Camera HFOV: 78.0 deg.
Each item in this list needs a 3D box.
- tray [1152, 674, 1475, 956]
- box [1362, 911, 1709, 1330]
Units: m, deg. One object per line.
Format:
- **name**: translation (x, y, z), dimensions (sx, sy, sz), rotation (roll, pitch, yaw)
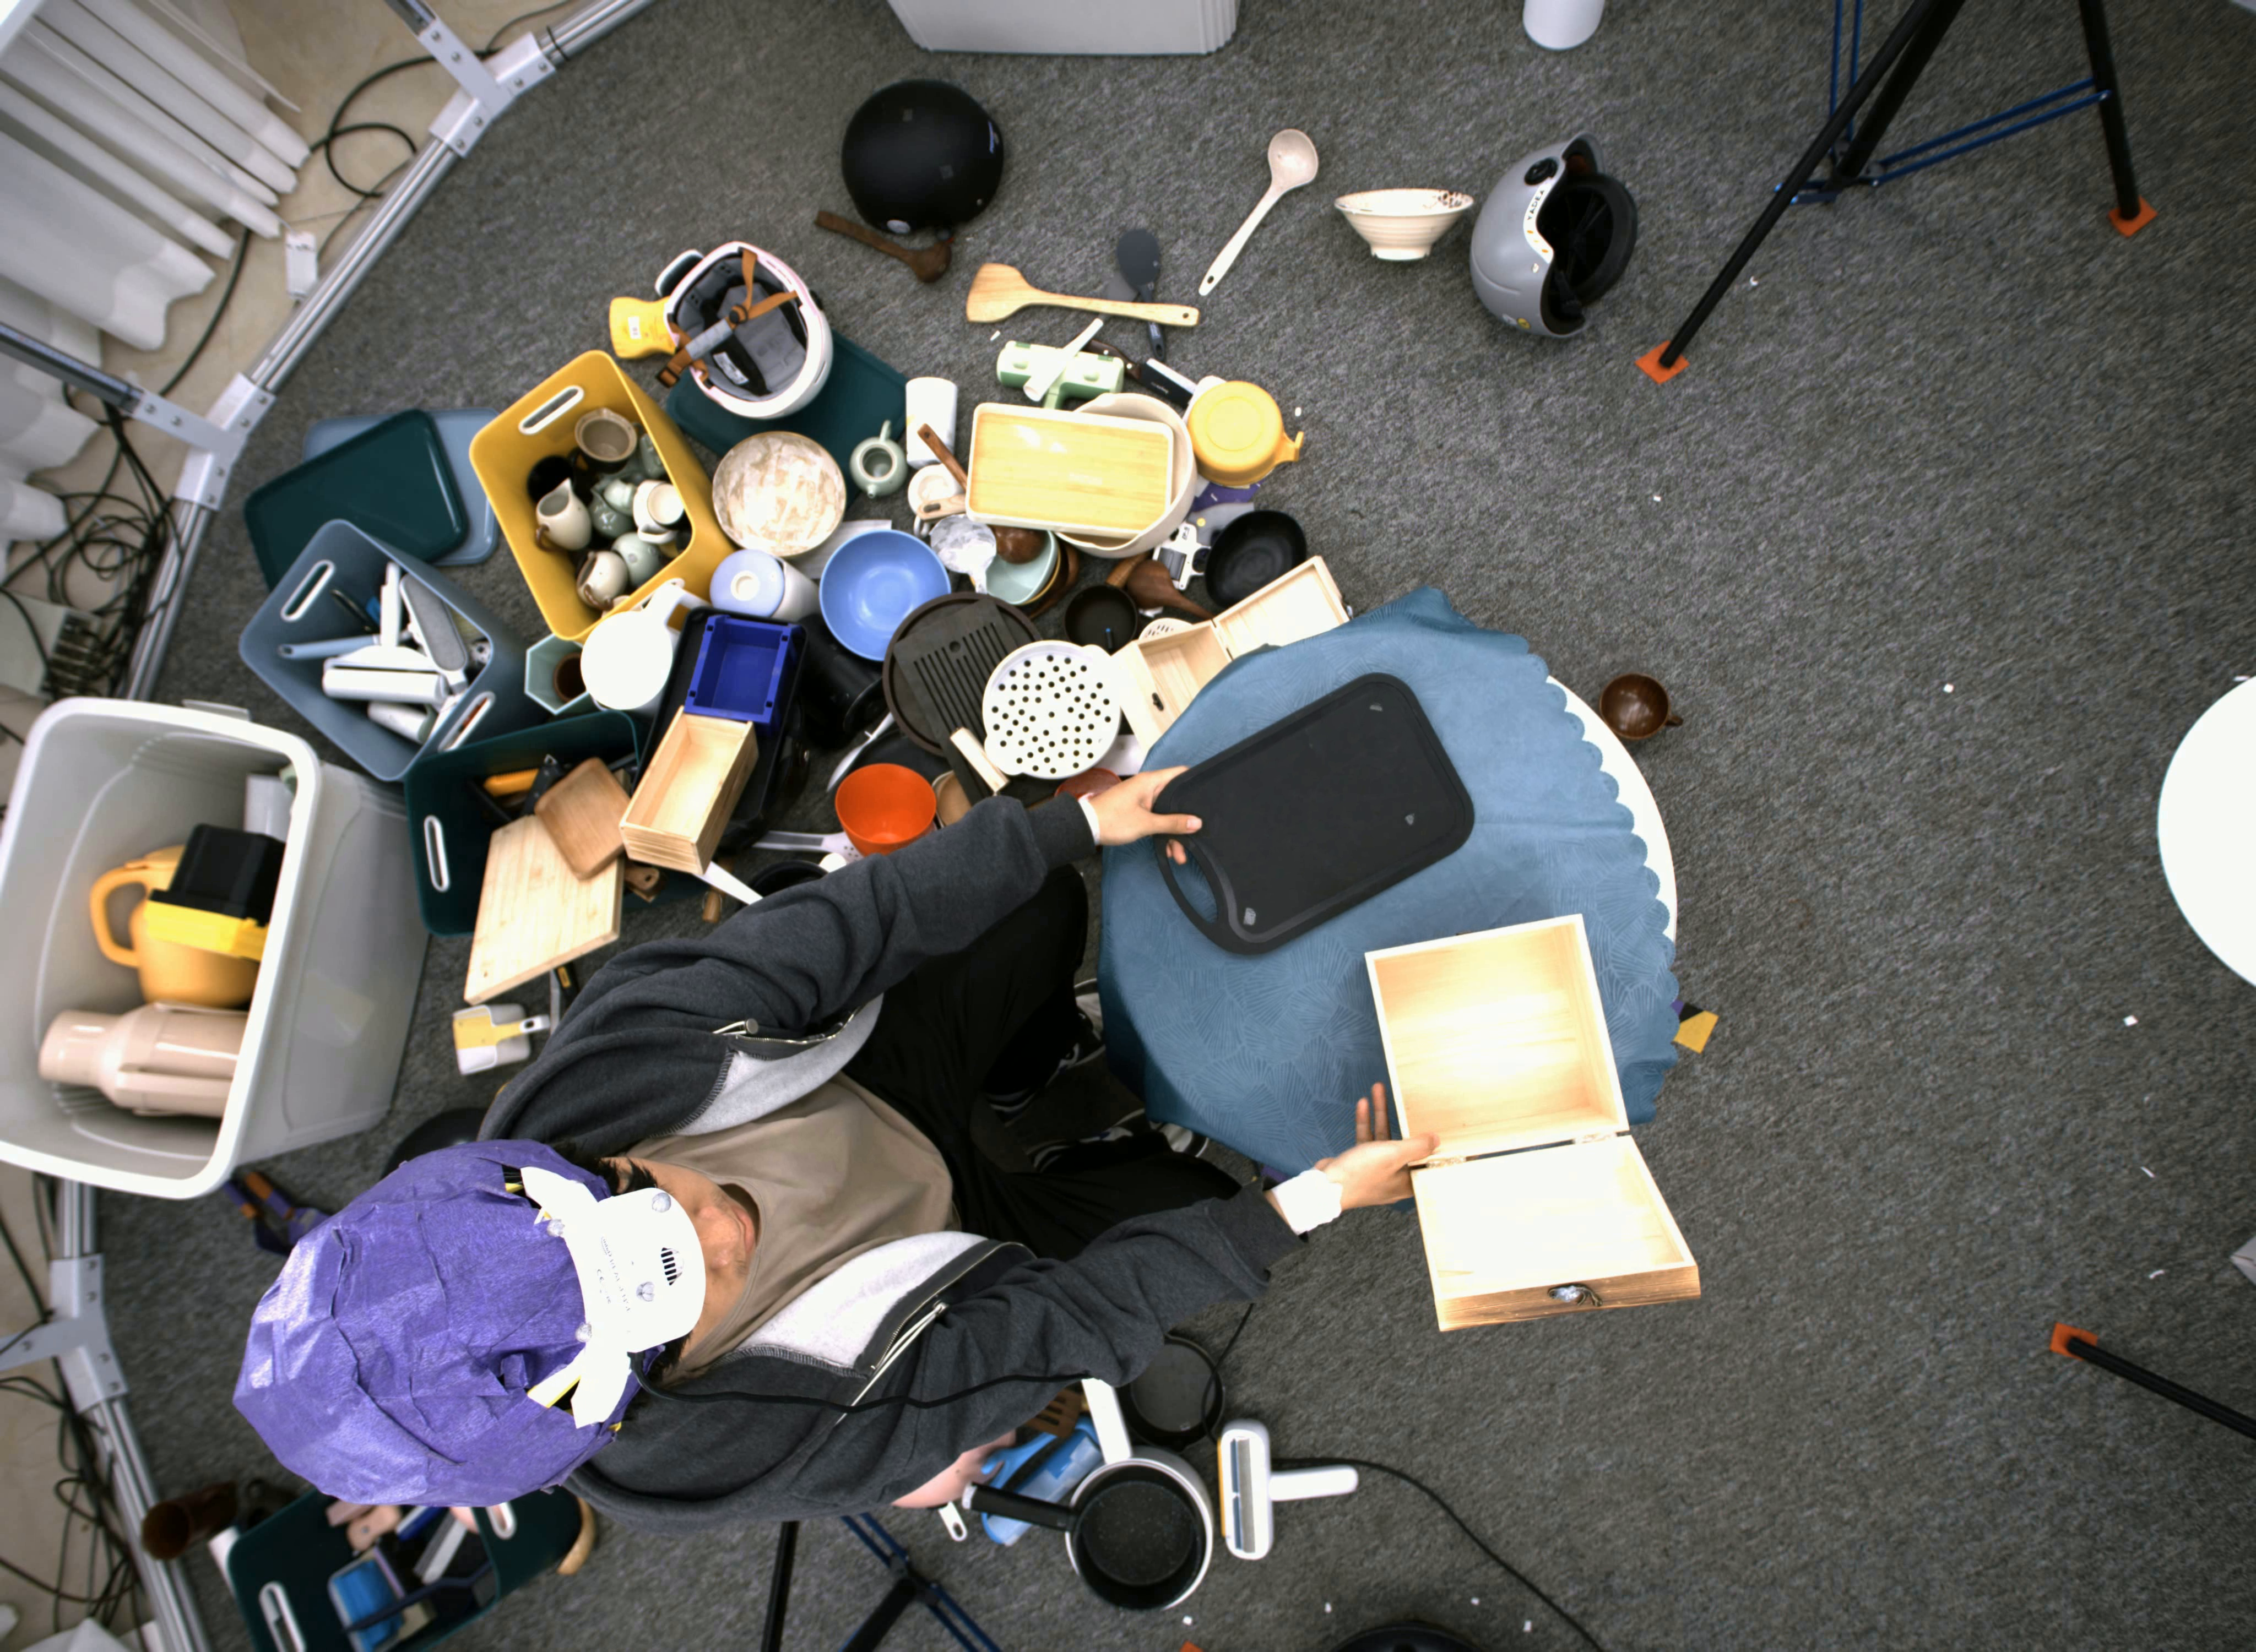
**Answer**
- **tray**: translation (0.189, -0.007, 1.449), dimensions (0.326, 0.010, 0.211), rotation (-29, 93, 4)
- **box**: translation (0.348, 0.243, 1.253), dimensions (0.210, 0.376, 0.320), rotation (-12, 84, 8)
